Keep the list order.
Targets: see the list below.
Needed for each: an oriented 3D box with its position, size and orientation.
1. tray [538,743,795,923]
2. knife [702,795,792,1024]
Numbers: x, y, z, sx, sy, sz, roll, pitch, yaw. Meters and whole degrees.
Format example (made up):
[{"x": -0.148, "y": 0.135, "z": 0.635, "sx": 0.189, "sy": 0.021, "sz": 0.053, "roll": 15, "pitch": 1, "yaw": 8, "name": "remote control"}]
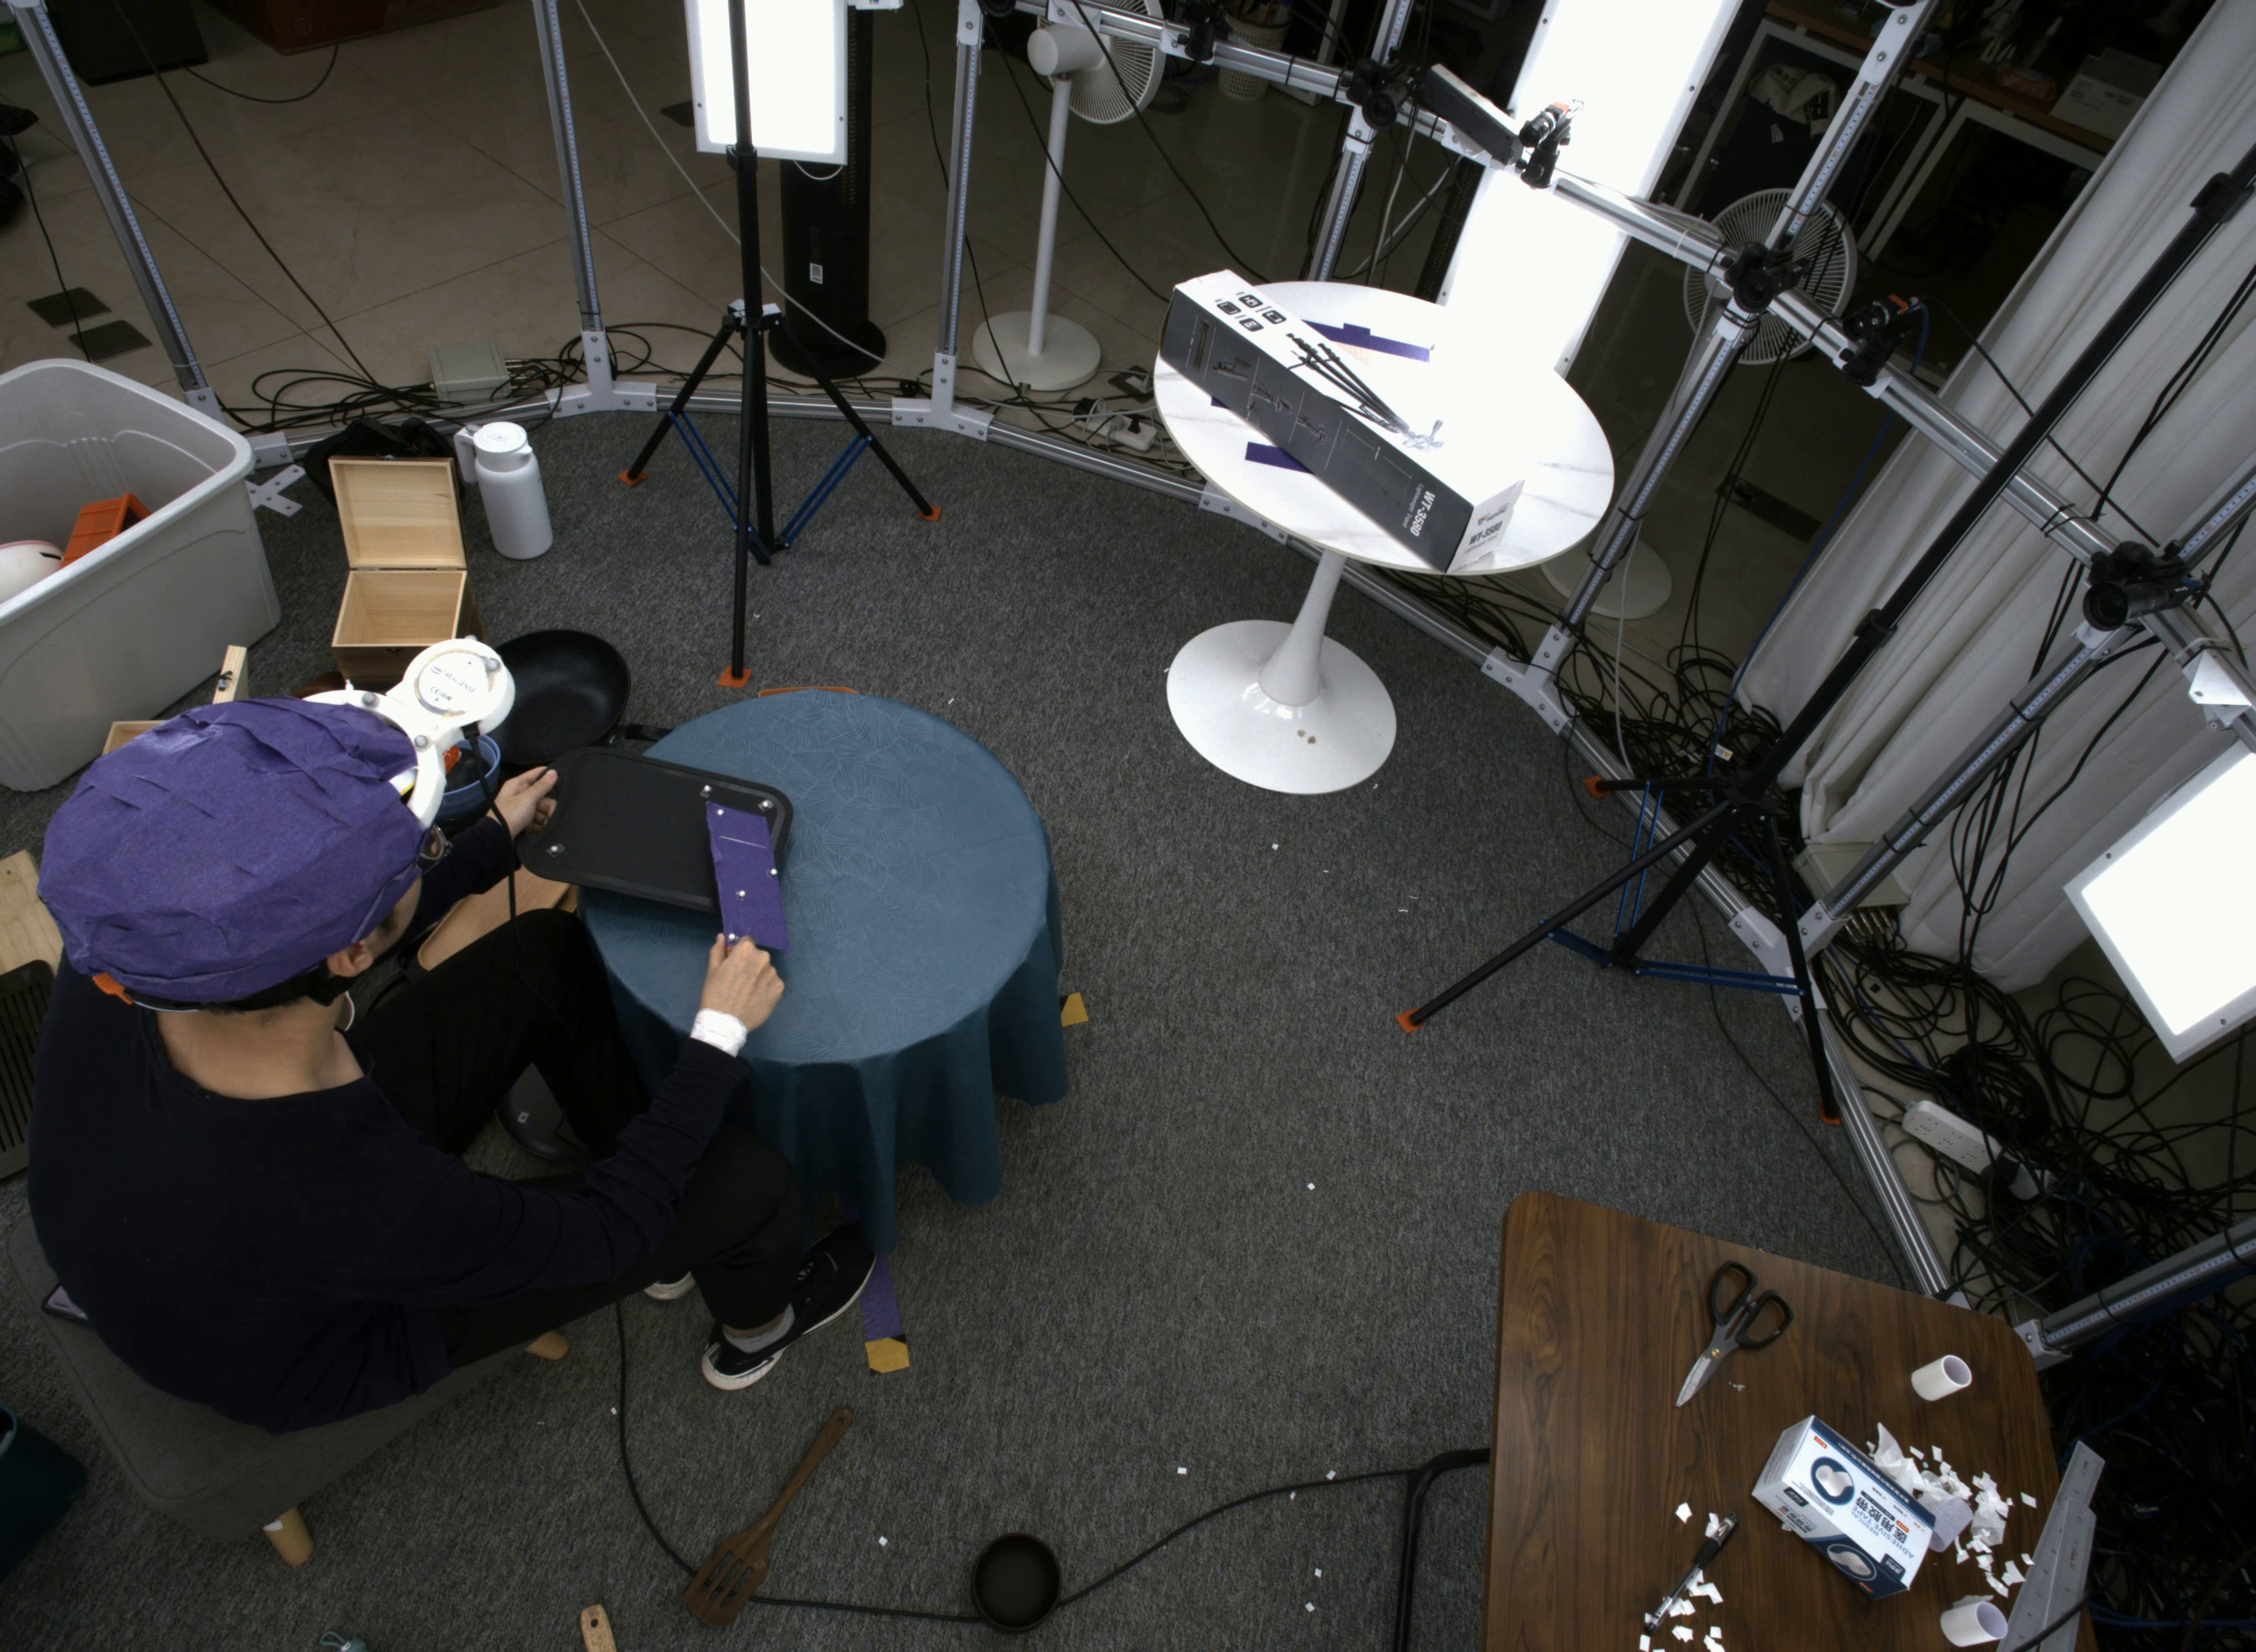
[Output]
[{"x": -0.596, "y": 0.002, "z": 1.620, "sx": 0.326, "sy": 0.010, "sz": 0.208, "roll": 15, "pitch": 57, "yaw": -12, "name": "tray"}, {"x": -0.450, "y": 0.095, "z": 1.562, "sx": 0.107, "sy": 0.032, "sz": 0.308, "roll": 18, "pitch": 45, "yaw": -47, "name": "knife"}]
